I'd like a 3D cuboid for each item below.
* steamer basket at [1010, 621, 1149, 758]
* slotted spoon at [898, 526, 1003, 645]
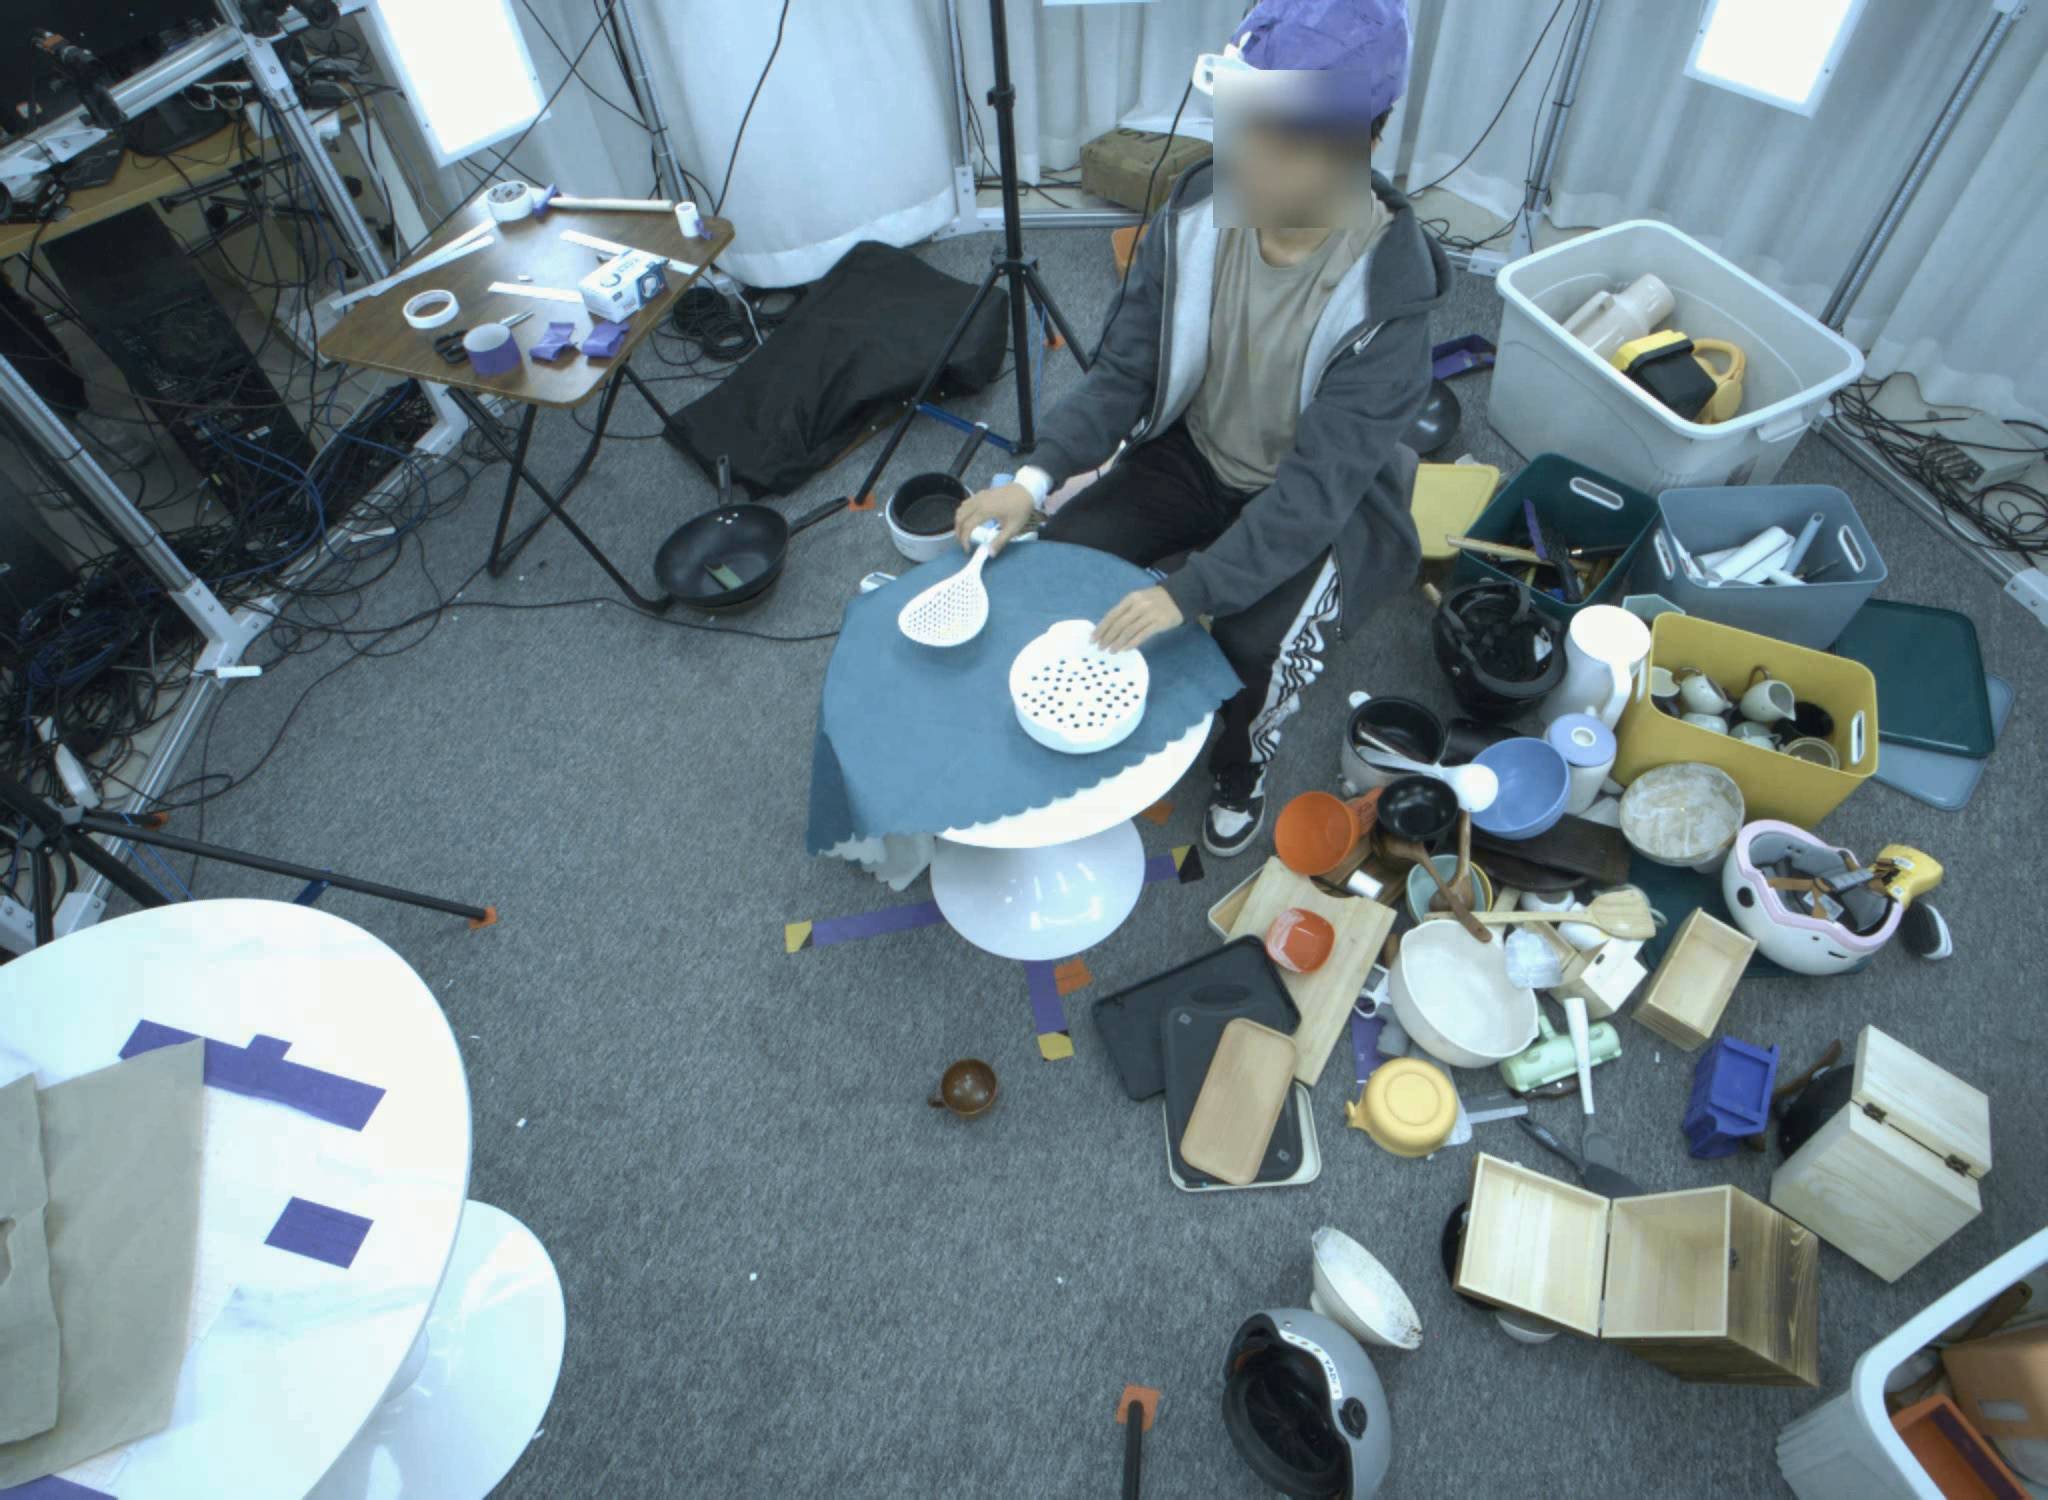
[{"bbox_3d":[0.082,-0.083,1.805,0.202,0.070,0.227,-6,57,-3],"label":"steamer basket"},{"bbox_3d":[-0.089,-0.274,1.974,0.135,0.051,0.347,9,49,16],"label":"slotted spoon"}]
